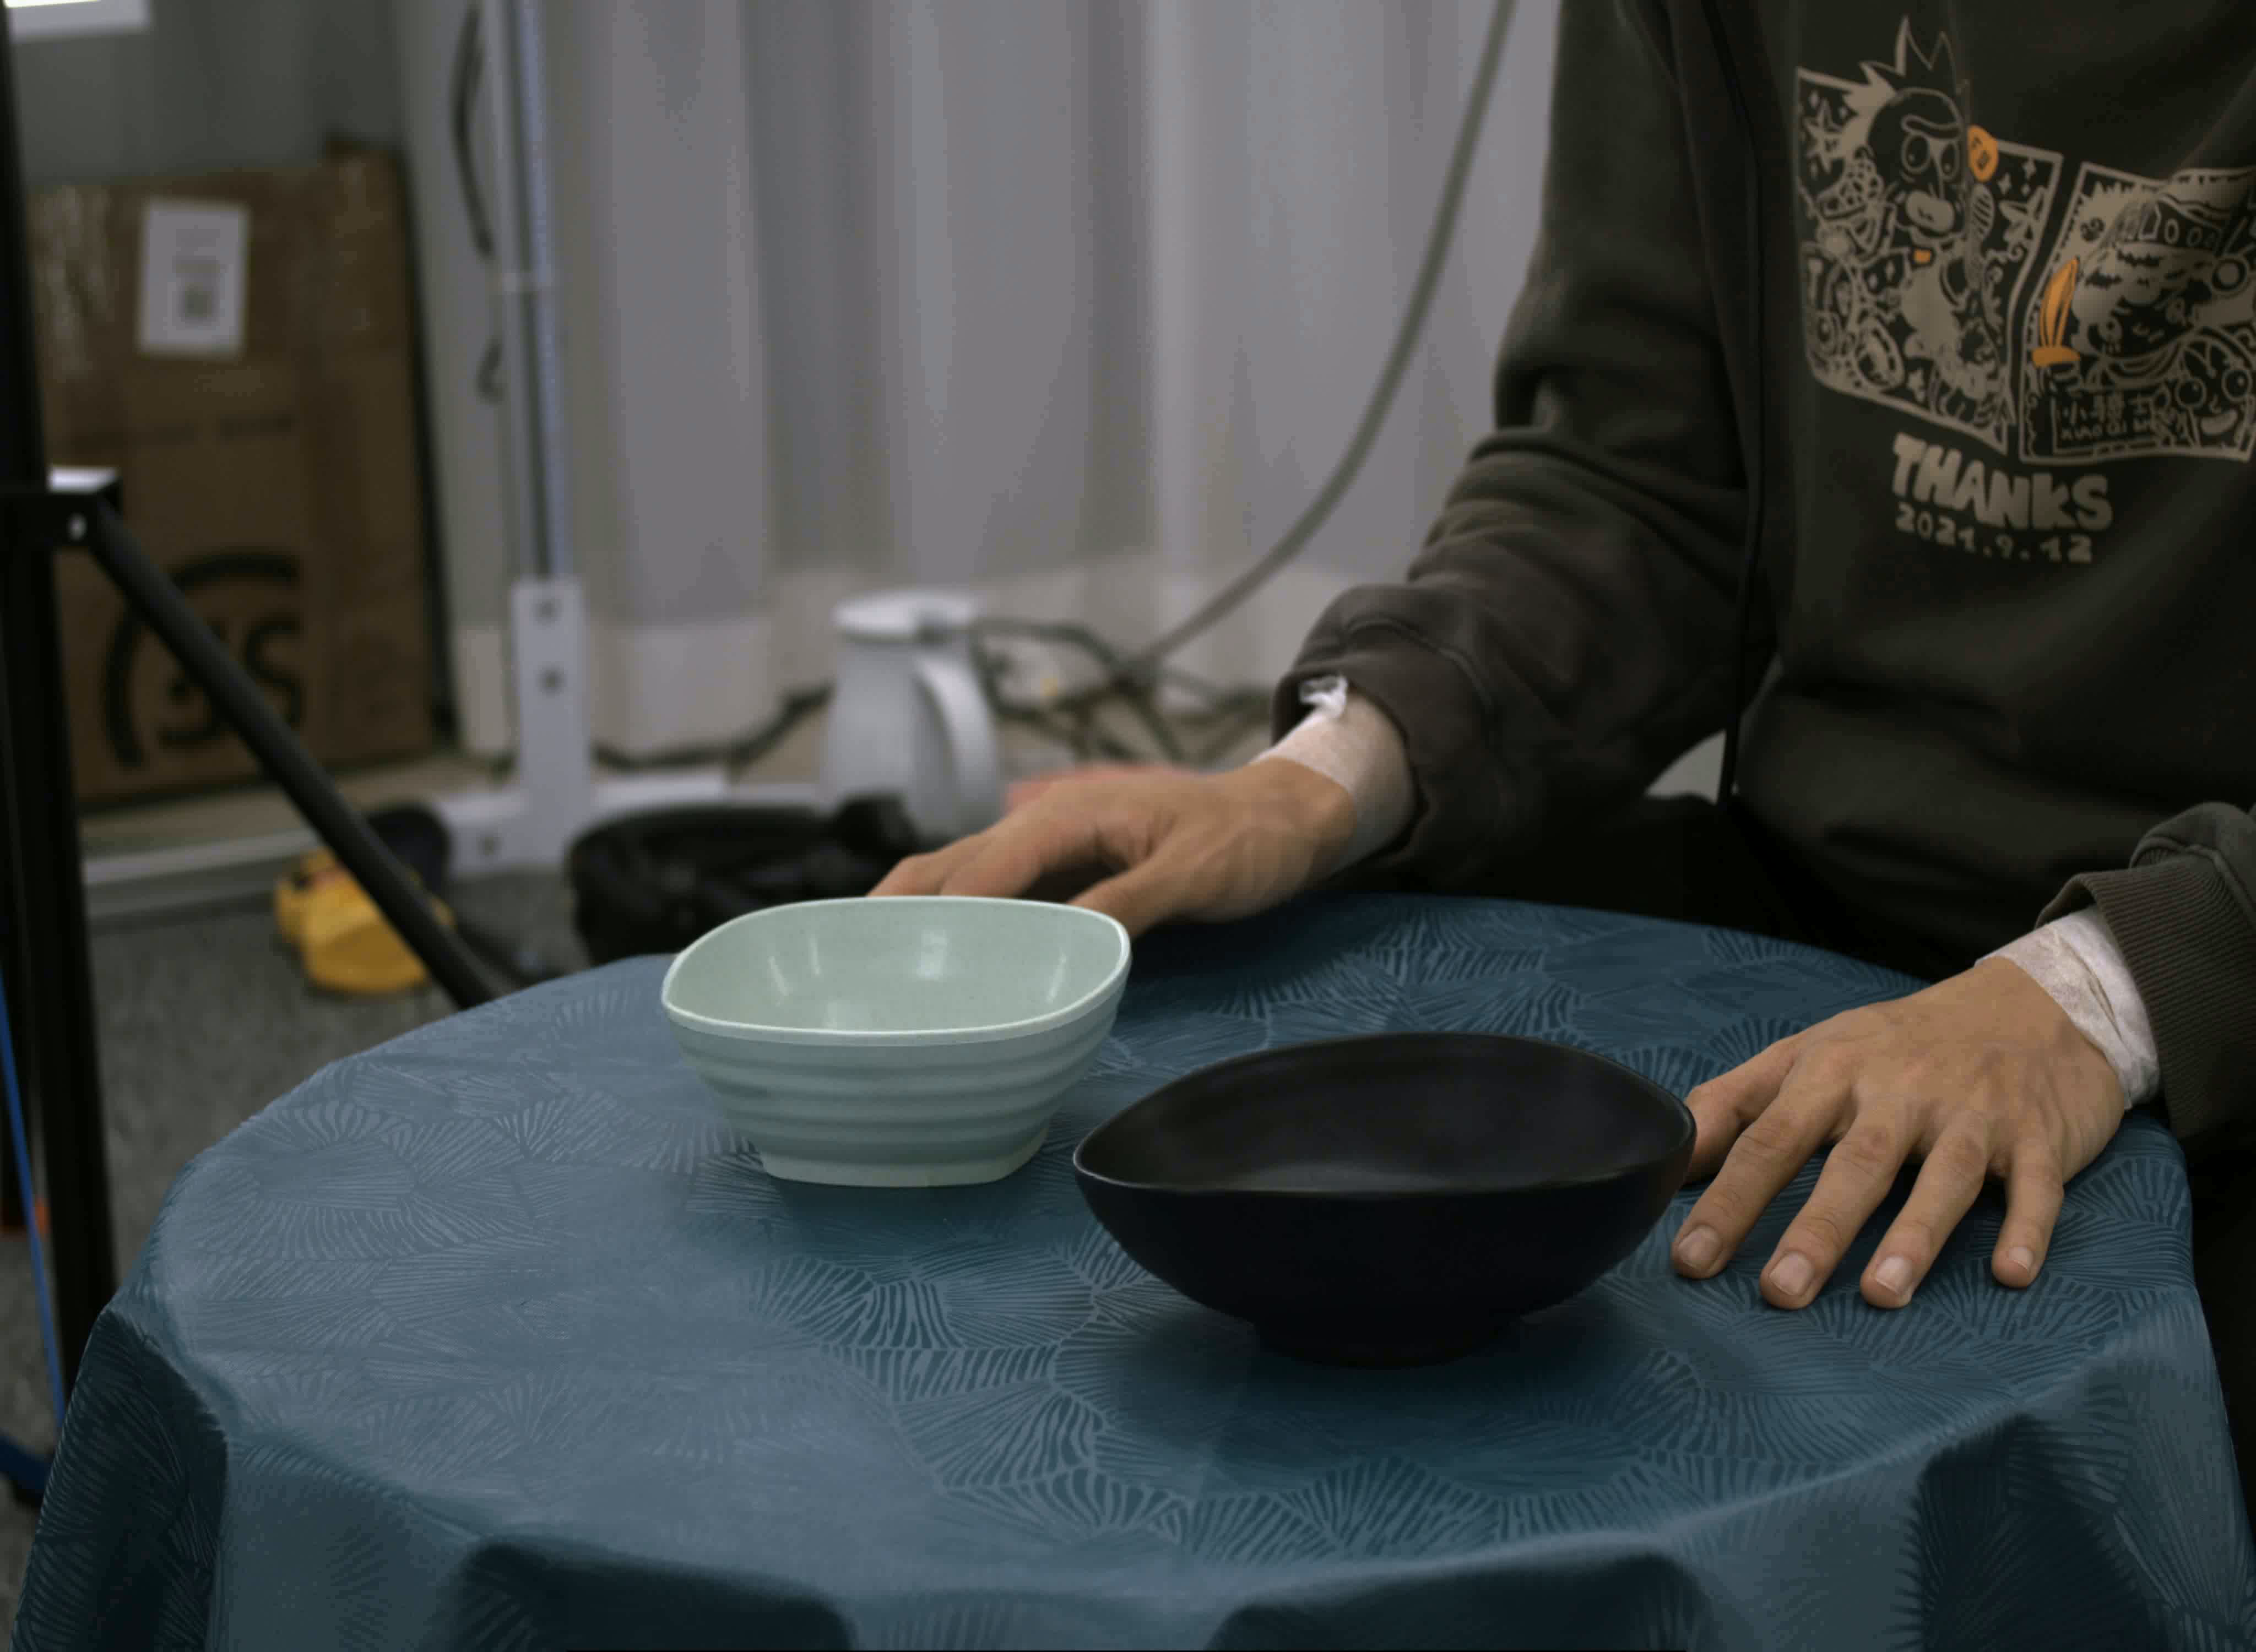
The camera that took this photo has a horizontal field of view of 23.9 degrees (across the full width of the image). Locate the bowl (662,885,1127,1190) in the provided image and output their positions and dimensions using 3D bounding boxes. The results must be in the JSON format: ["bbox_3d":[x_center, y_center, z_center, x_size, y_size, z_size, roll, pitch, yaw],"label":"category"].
[{"bbox_3d":[-0.068,0.067,1.612,0.151,0.058,0.152,-4,18,0],"label":"bowl"}]

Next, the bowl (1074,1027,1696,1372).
[{"bbox_3d":[0.070,0.107,1.438,0.171,0.066,0.137,-1,15,10],"label":"bowl"}]
